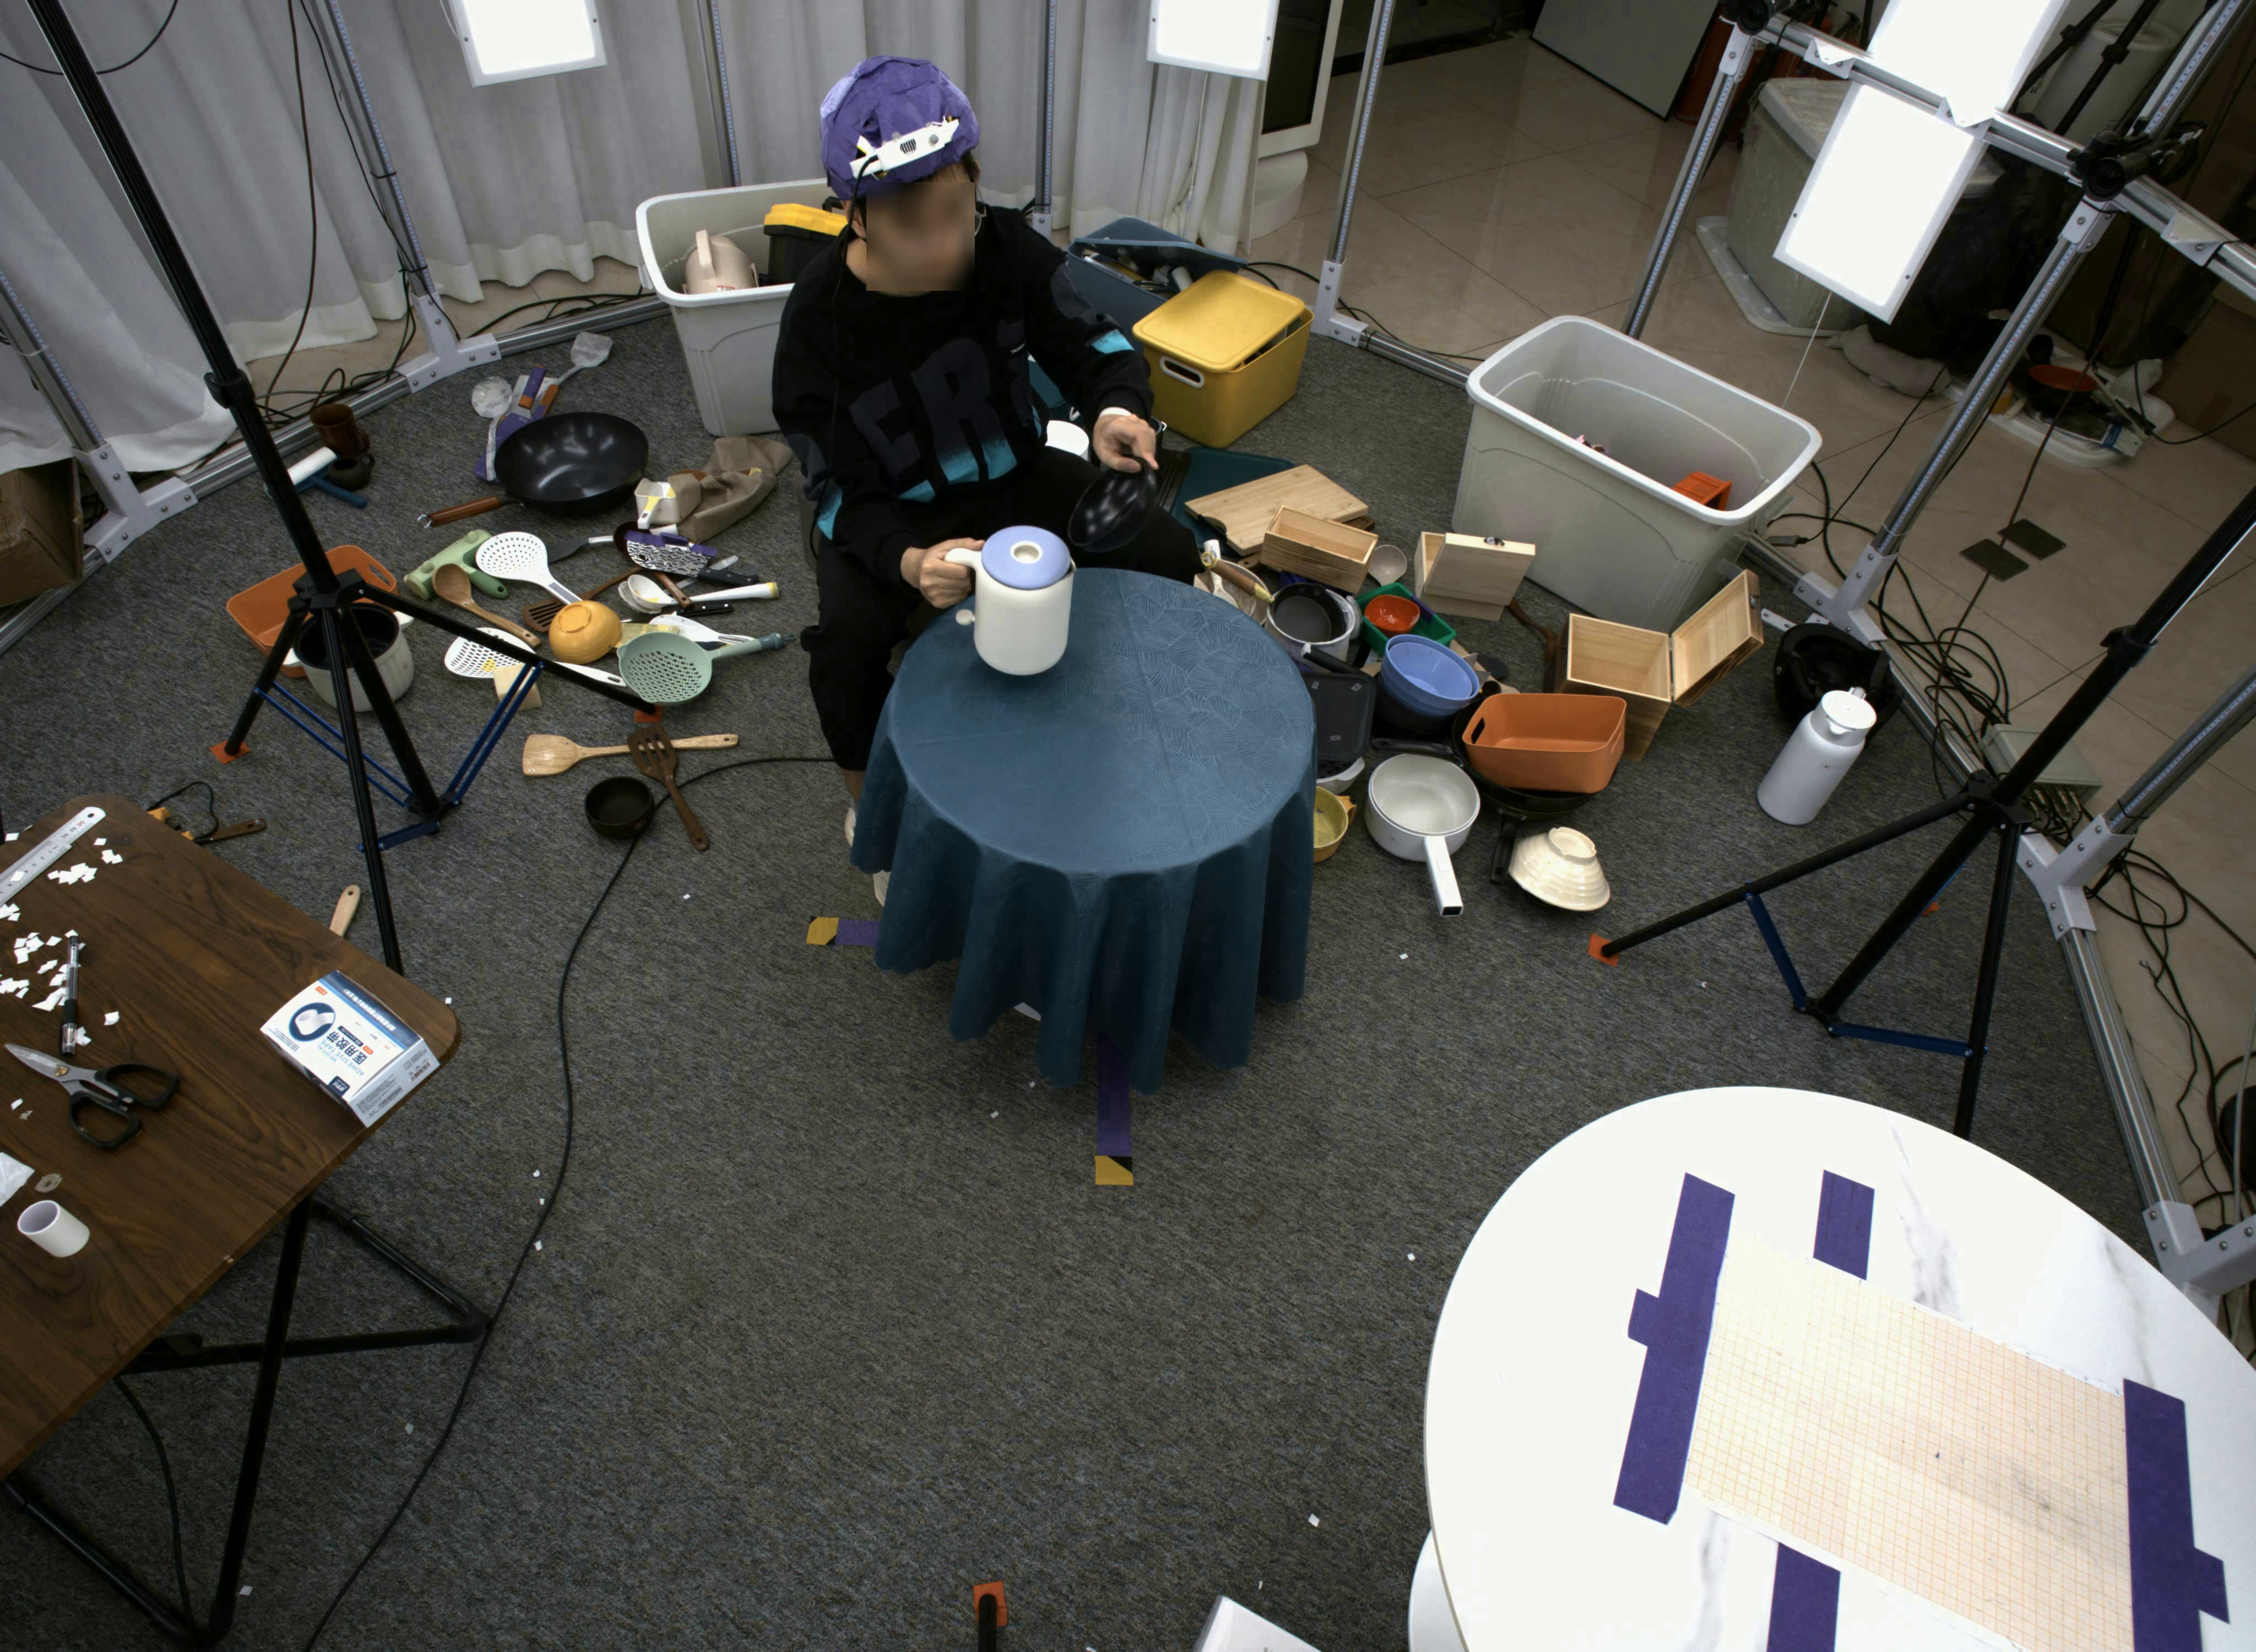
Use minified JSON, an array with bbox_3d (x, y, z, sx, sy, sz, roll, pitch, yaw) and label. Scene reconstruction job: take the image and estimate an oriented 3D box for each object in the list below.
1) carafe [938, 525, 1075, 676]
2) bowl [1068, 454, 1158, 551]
[{"bbox_3d":[-0.167,-0.312,1.763,0.191,0.178,0.135,11,51,5],"label":"carafe"},{"bbox_3d":[-0.009,-0.399,1.629,0.049,0.139,0.143,38,39,-32],"label":"bowl"}]
